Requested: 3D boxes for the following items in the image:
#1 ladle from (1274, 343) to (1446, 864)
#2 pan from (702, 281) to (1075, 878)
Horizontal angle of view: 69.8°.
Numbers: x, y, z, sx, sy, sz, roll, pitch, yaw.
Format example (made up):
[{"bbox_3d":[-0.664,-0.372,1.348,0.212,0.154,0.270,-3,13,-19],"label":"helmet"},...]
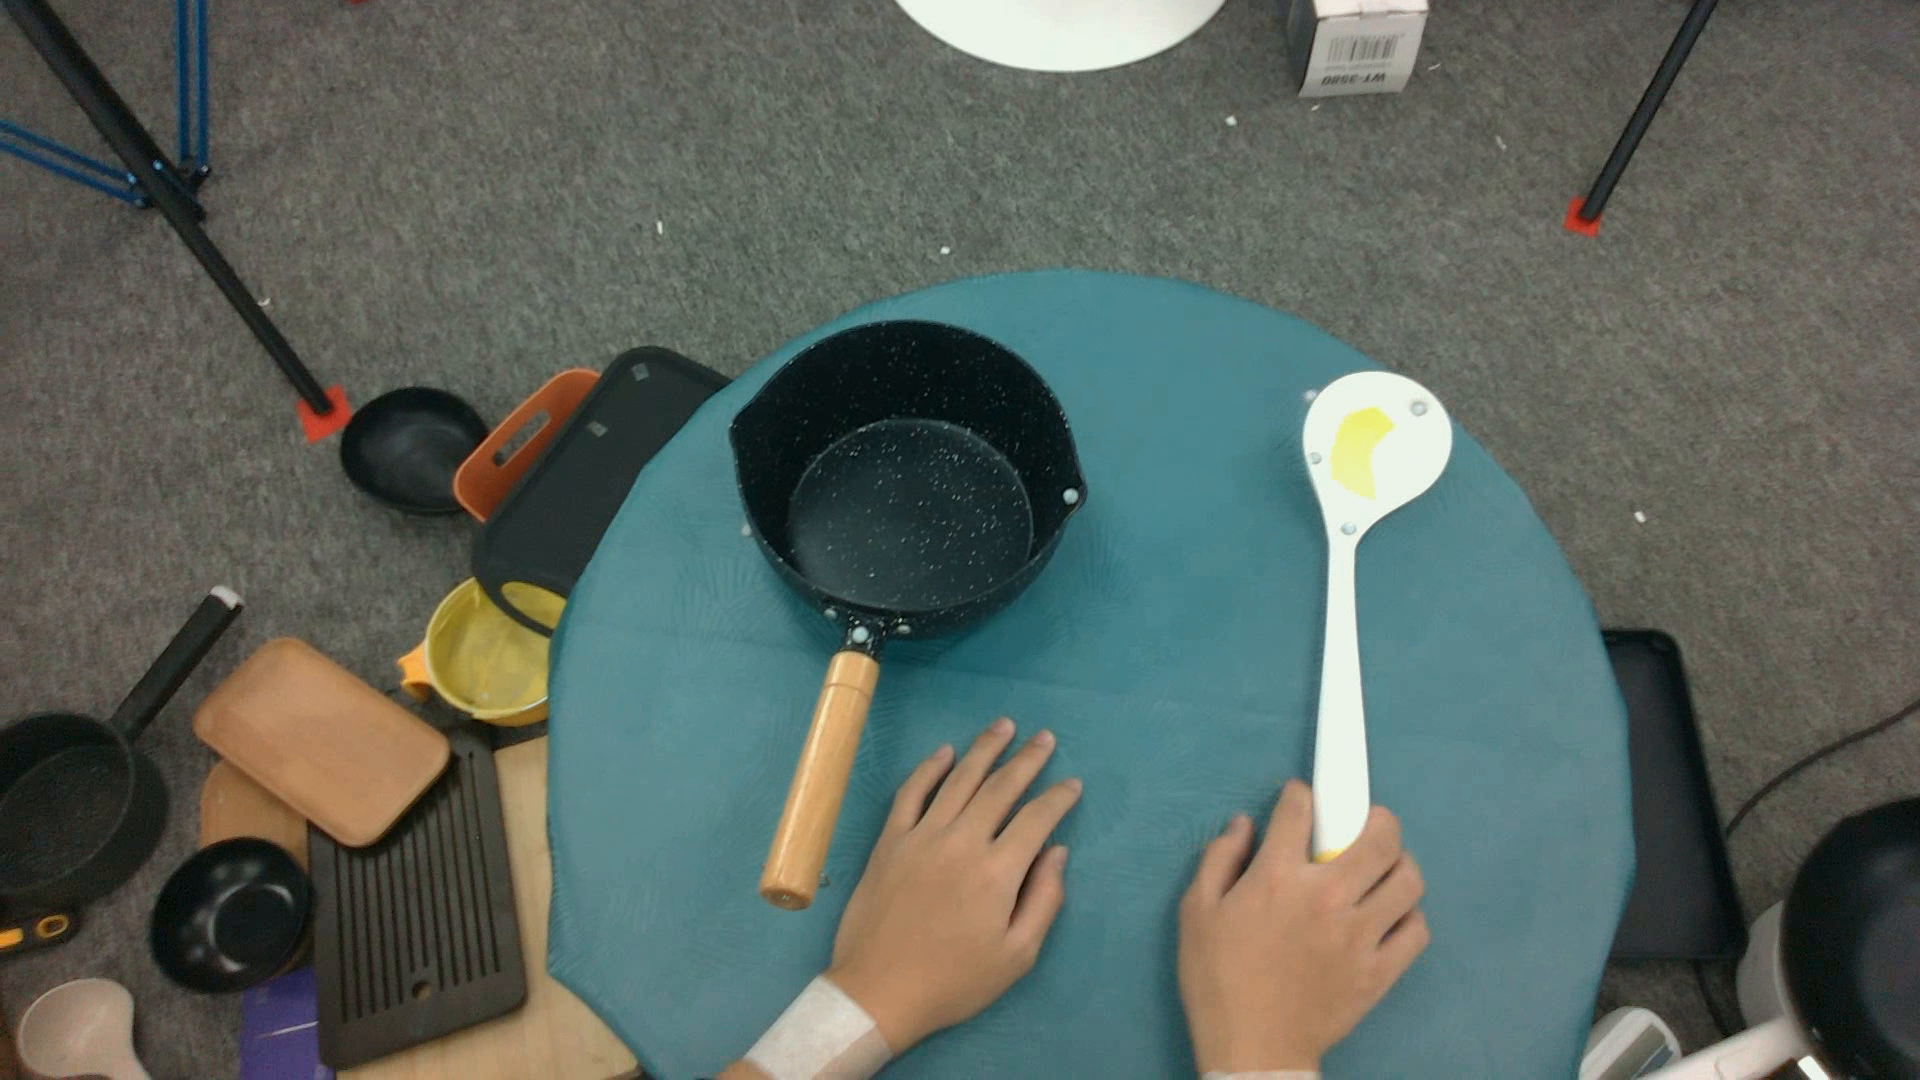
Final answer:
[{"bbox_3d":[0.218,0.031,0.765,0.090,0.069,0.294,22,64,-20],"label":"ladle"},{"bbox_3d":[-0.053,0.020,0.733,0.207,0.108,0.344,10,63,2],"label":"pan"}]
